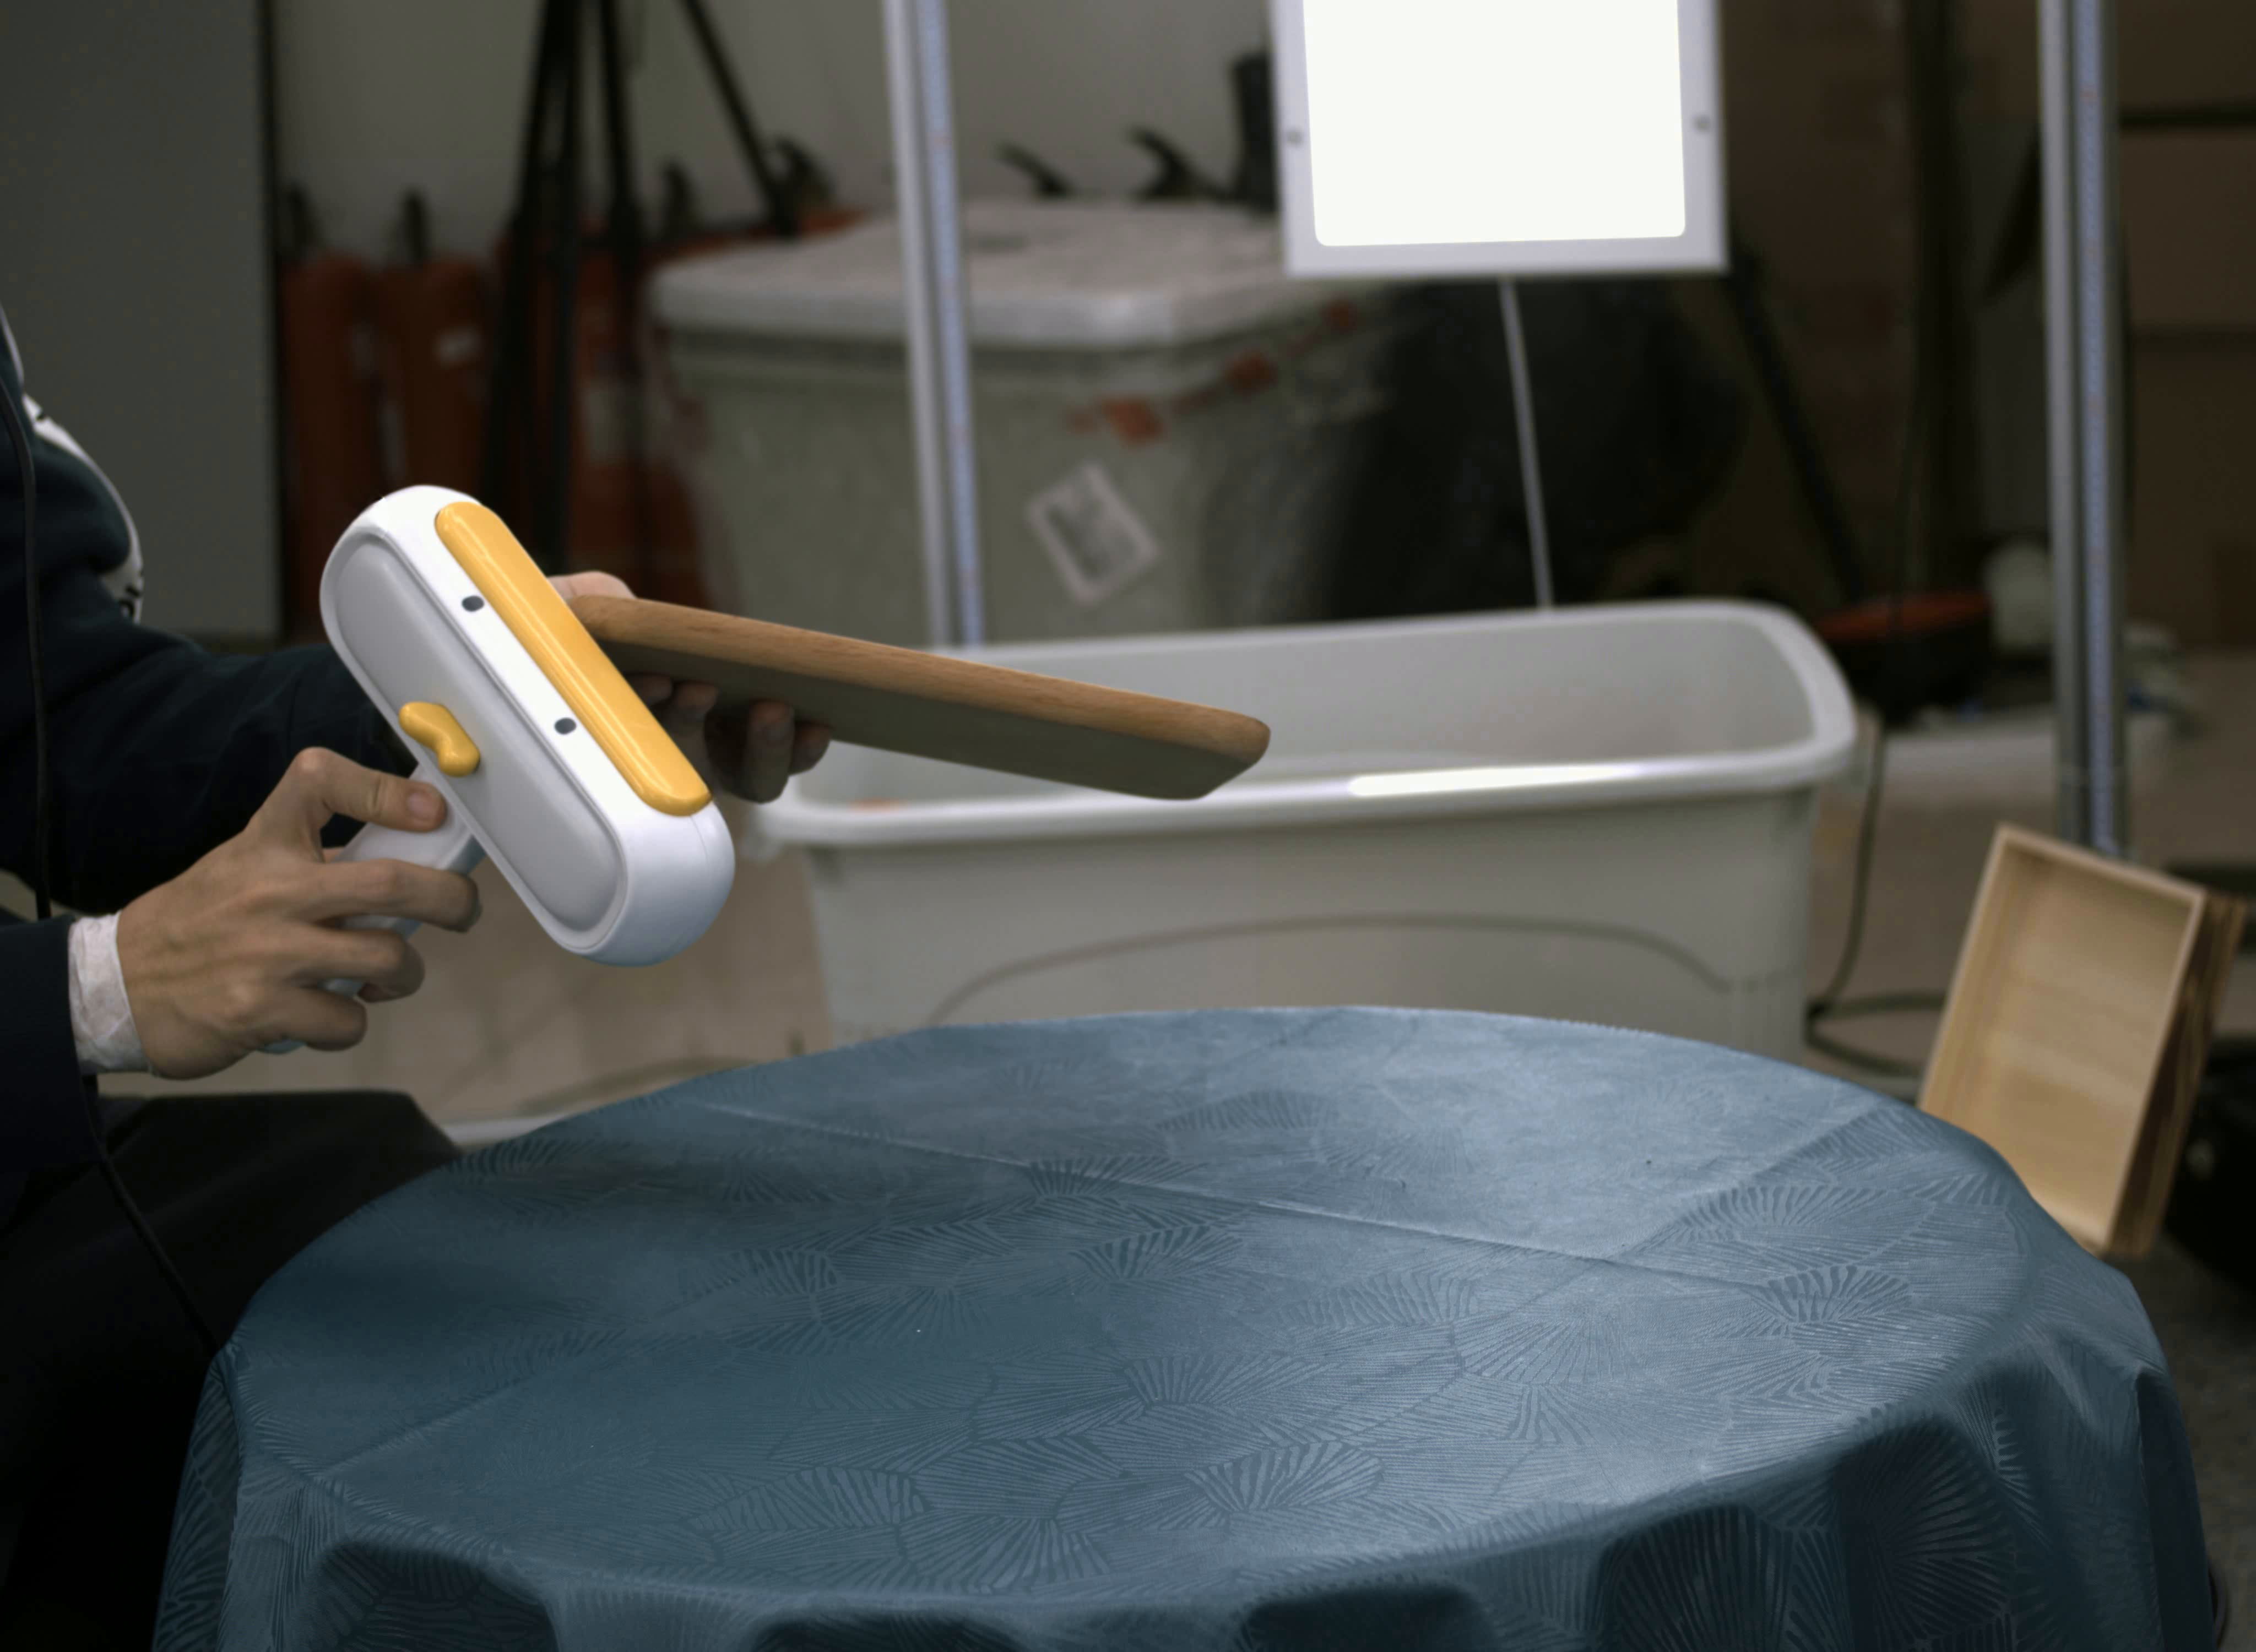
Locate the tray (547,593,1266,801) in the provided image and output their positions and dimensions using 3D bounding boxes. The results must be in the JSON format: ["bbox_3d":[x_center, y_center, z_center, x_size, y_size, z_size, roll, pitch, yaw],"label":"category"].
[{"bbox_3d":[-0.081,-0.043,1.925,0.248,0.023,0.131,10,-12,-7],"label":"tray"}]

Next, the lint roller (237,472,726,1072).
[{"bbox_3d":[-0.240,0.005,1.886,0.194,0.195,0.072,45,32,20],"label":"lint roller"}]
